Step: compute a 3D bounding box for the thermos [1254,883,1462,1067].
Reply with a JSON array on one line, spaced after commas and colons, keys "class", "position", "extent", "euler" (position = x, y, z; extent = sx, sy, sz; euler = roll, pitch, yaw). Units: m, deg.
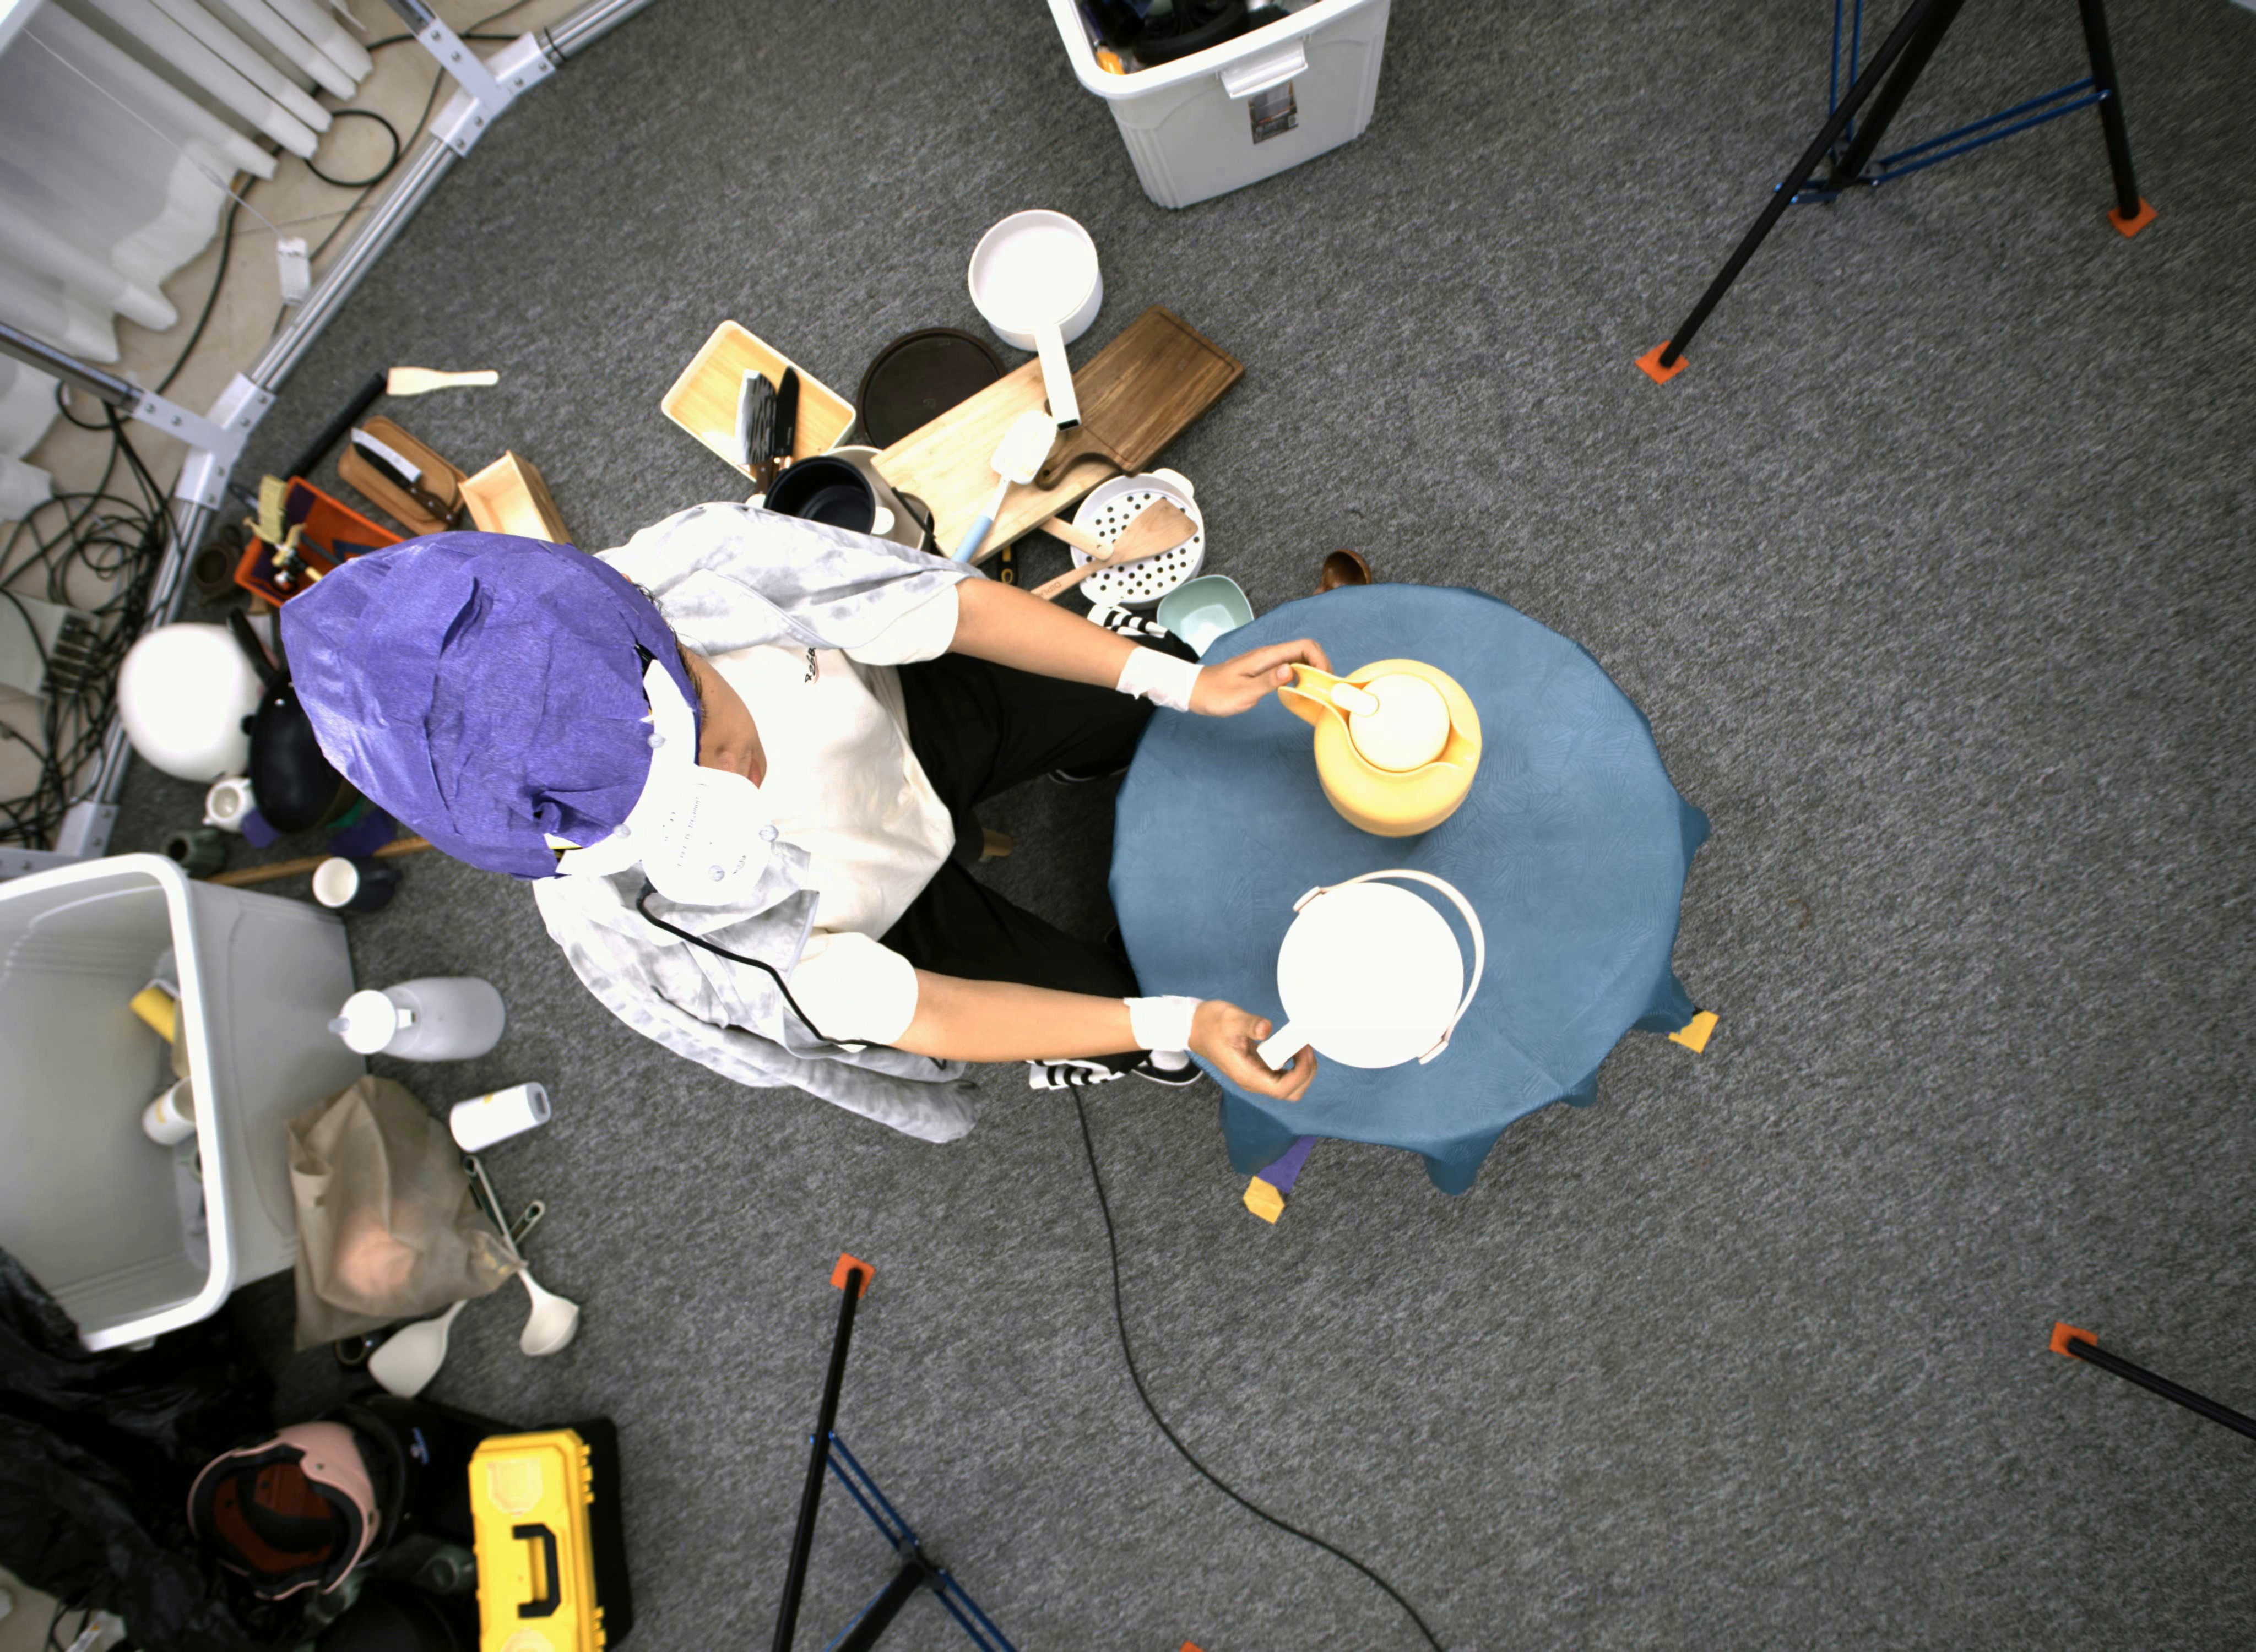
[{"class": "thermos", "position": [0.207, 0.143, 1.264], "extent": [0.208, 0.407, 0.174], "euler": [-39, 80, 4]}]

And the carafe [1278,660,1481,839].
[{"class": "carafe", "position": [0.243, -0.090, 1.339], "extent": [0.202, 0.261, 0.163], "euler": [29, 88, 10]}]
